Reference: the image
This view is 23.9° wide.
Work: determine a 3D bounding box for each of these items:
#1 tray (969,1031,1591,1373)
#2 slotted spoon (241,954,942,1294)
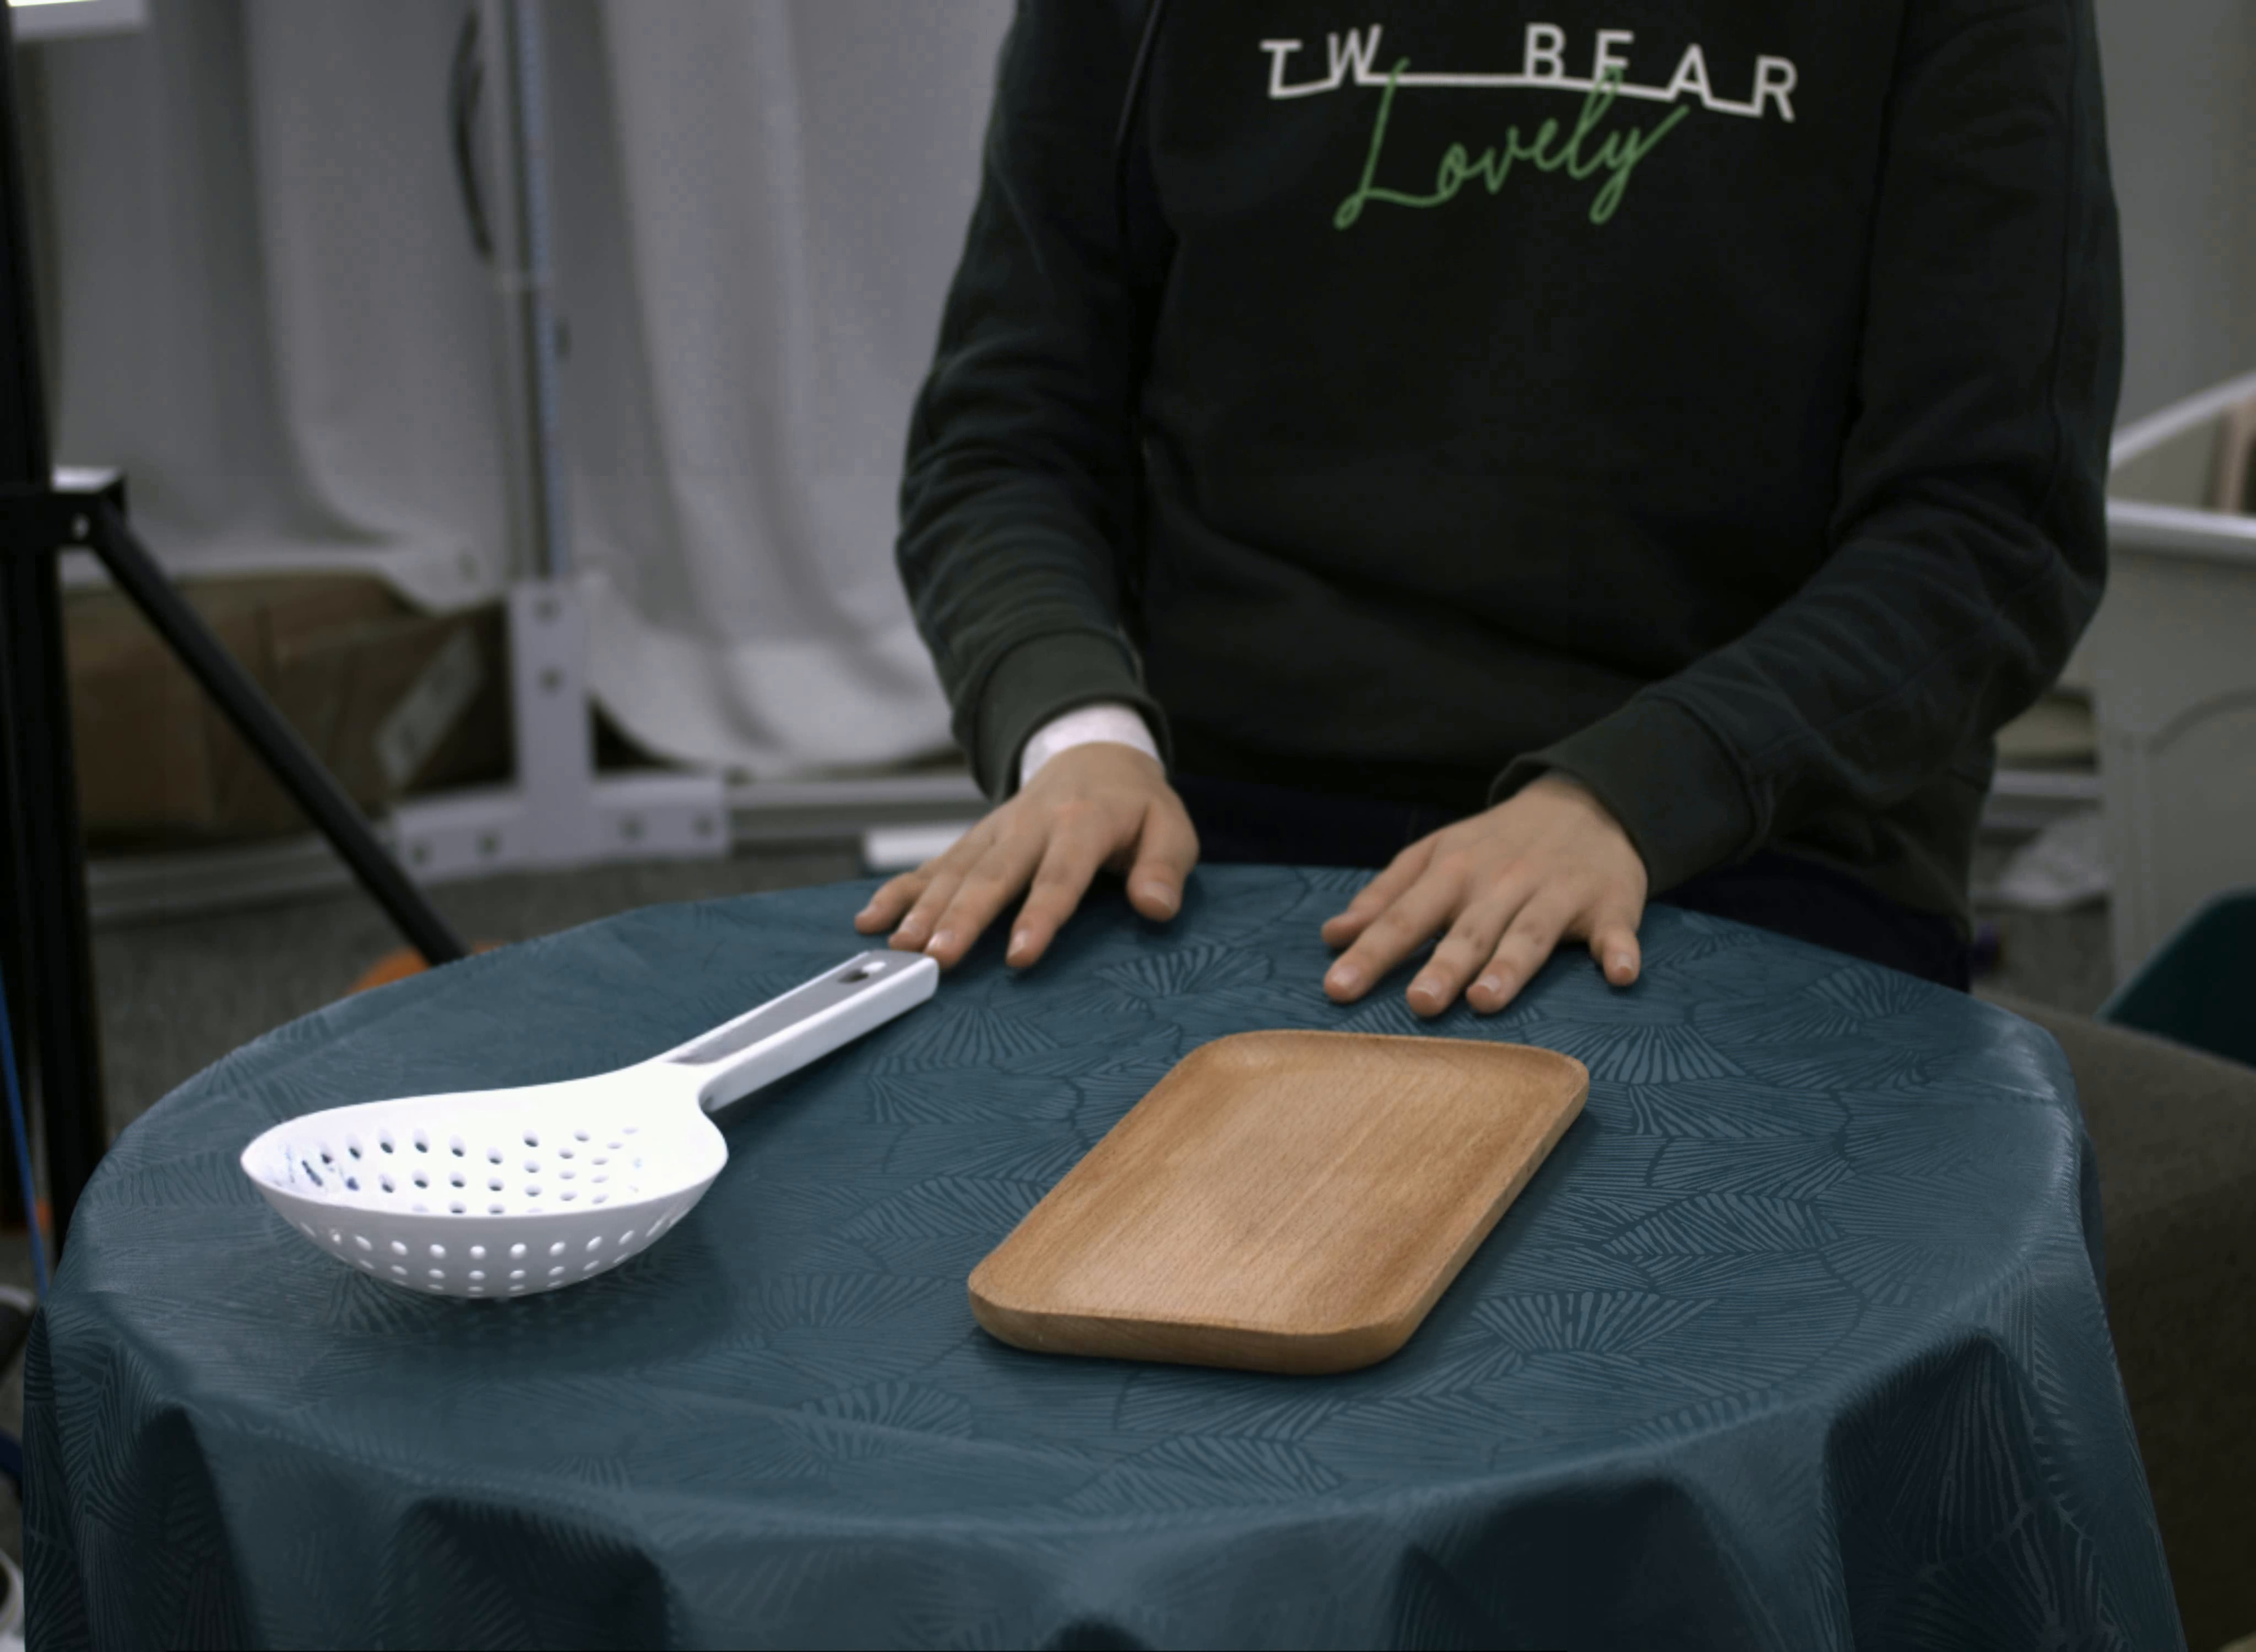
[{"bbox_3d":[0.049,0.105,1.529,0.132,0.023,0.248,5,16,19],"label":"tray"},{"bbox_3d":[-0.140,0.080,1.598,0.138,0.046,0.345,7,17,22],"label":"slotted spoon"}]
